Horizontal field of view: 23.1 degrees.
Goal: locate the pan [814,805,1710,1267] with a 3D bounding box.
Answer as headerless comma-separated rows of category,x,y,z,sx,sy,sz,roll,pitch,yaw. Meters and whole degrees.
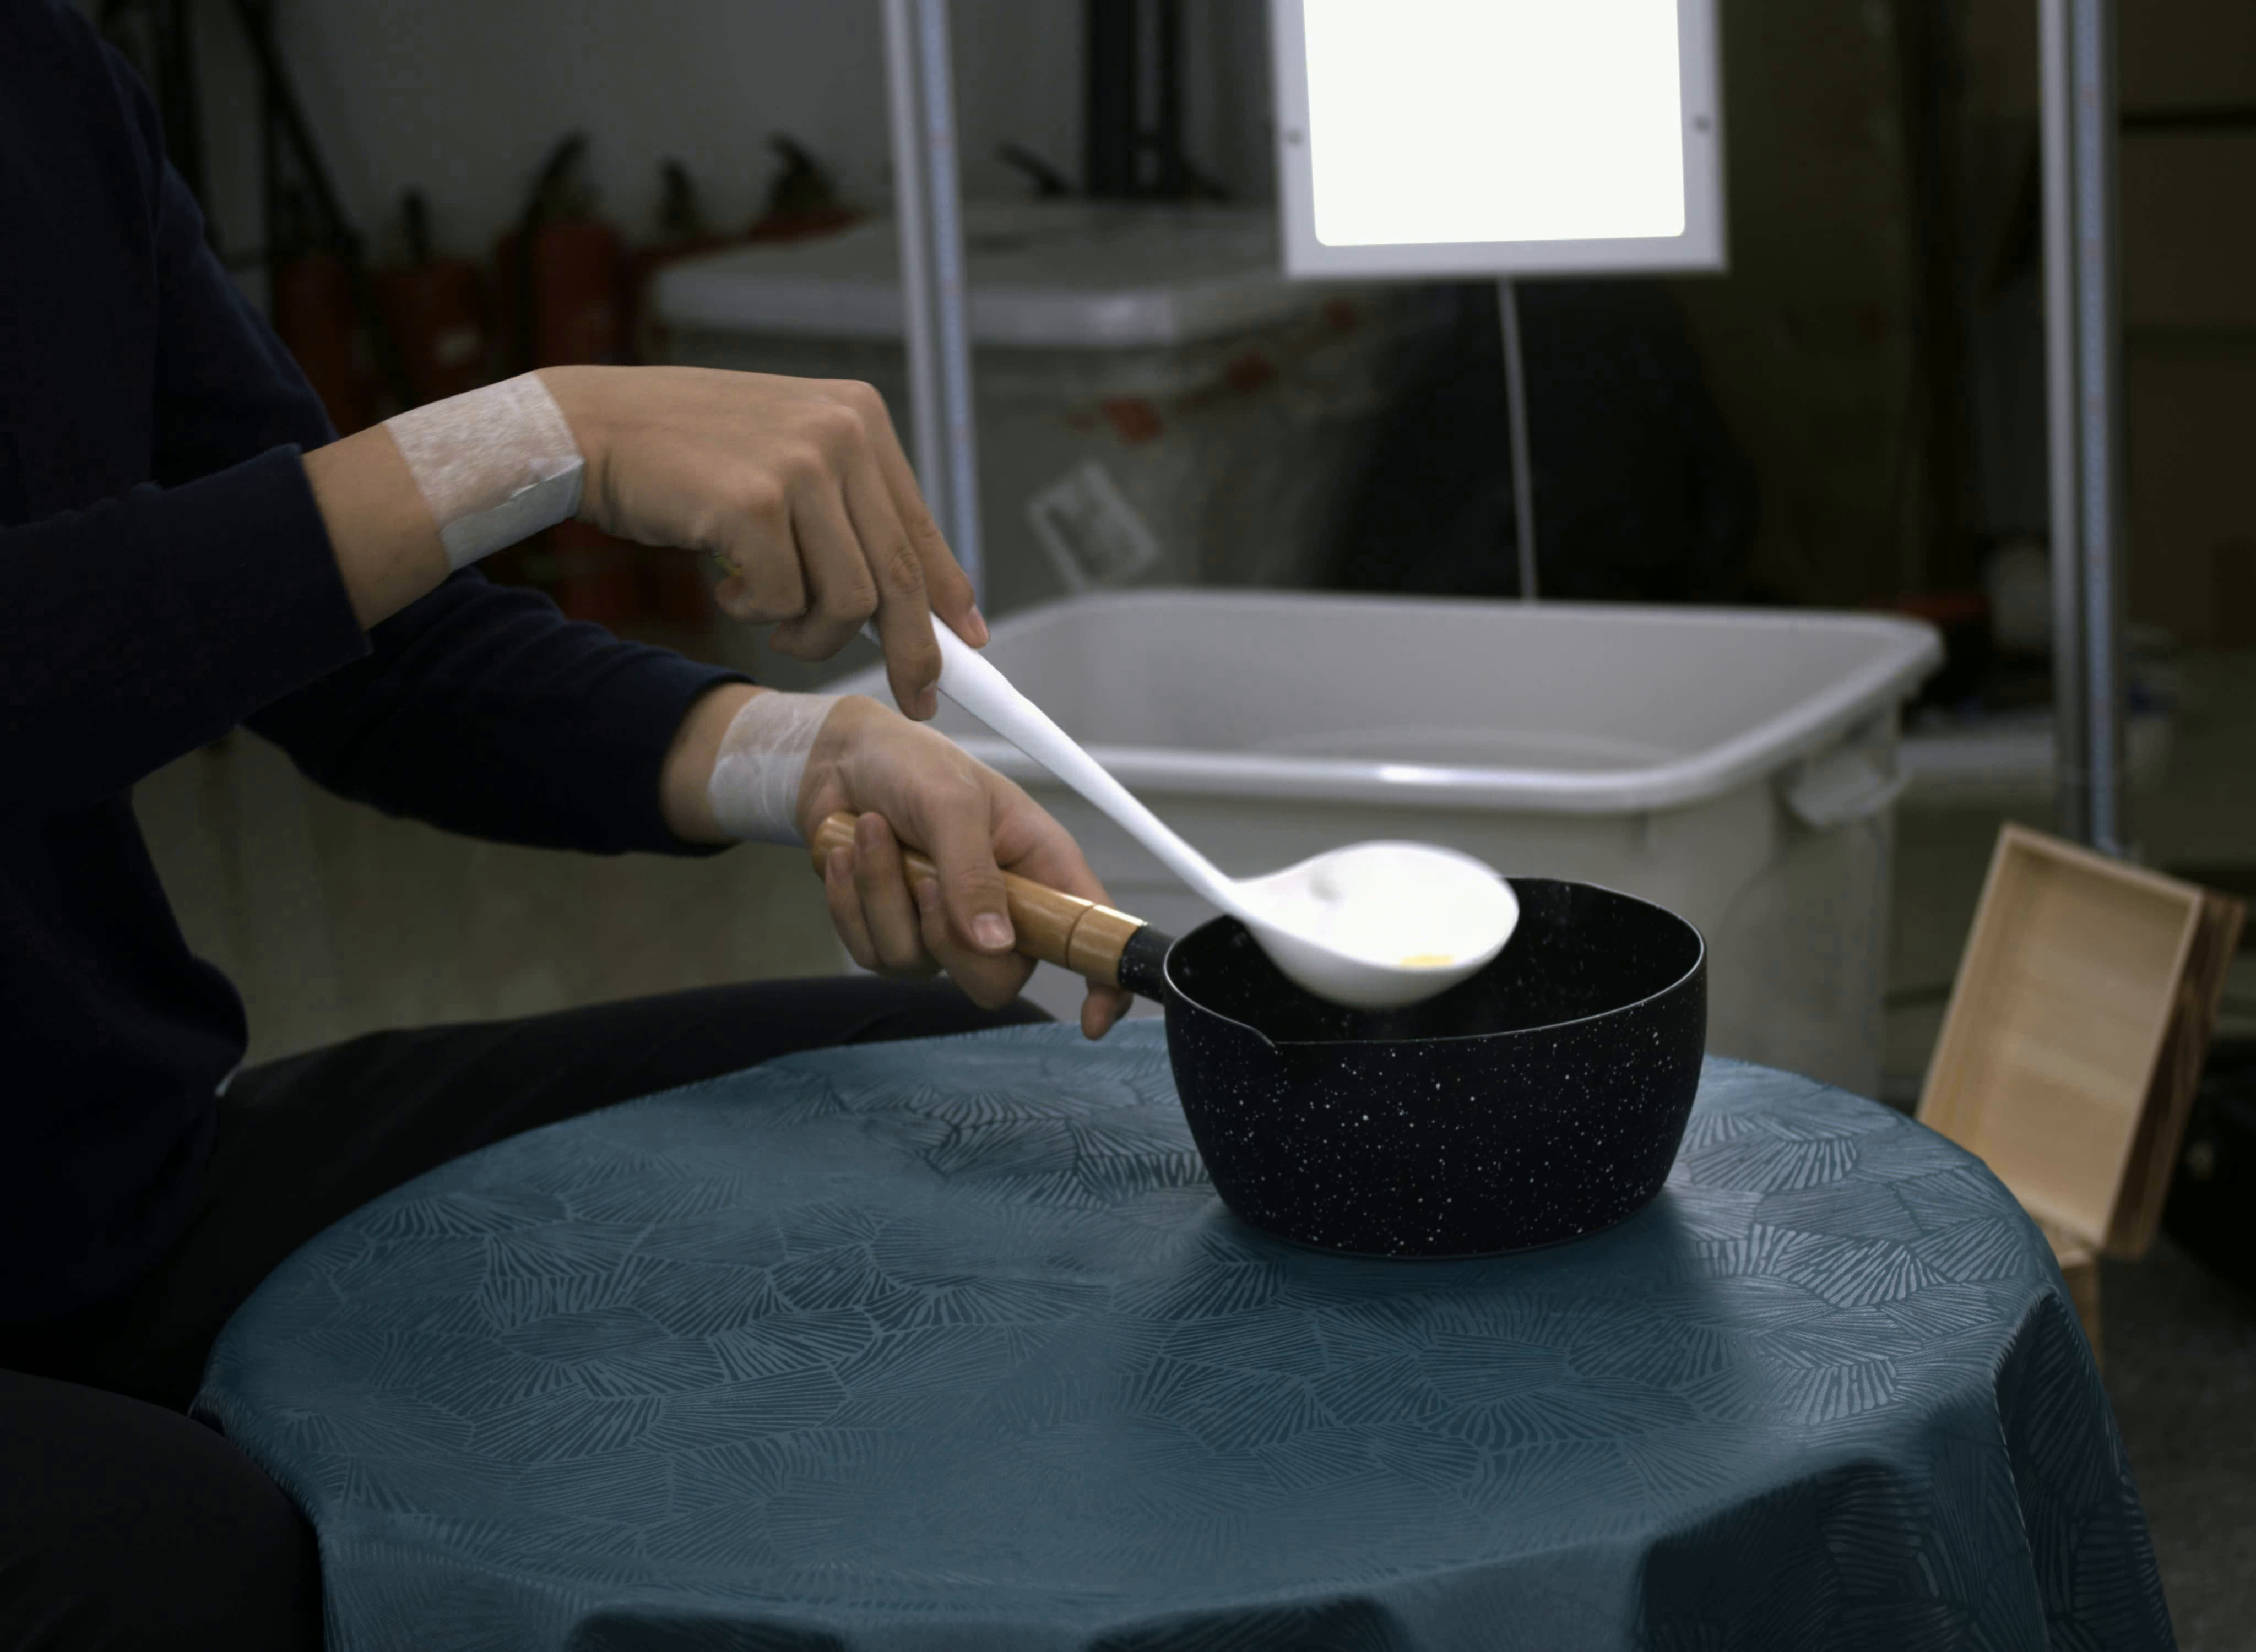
pan,0.037,0.064,1.893,0.349,0.108,0.202,7,20,31

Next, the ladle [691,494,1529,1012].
ladle,-0.003,-0.028,1.787,0.290,0.071,0.089,34,31,-15
